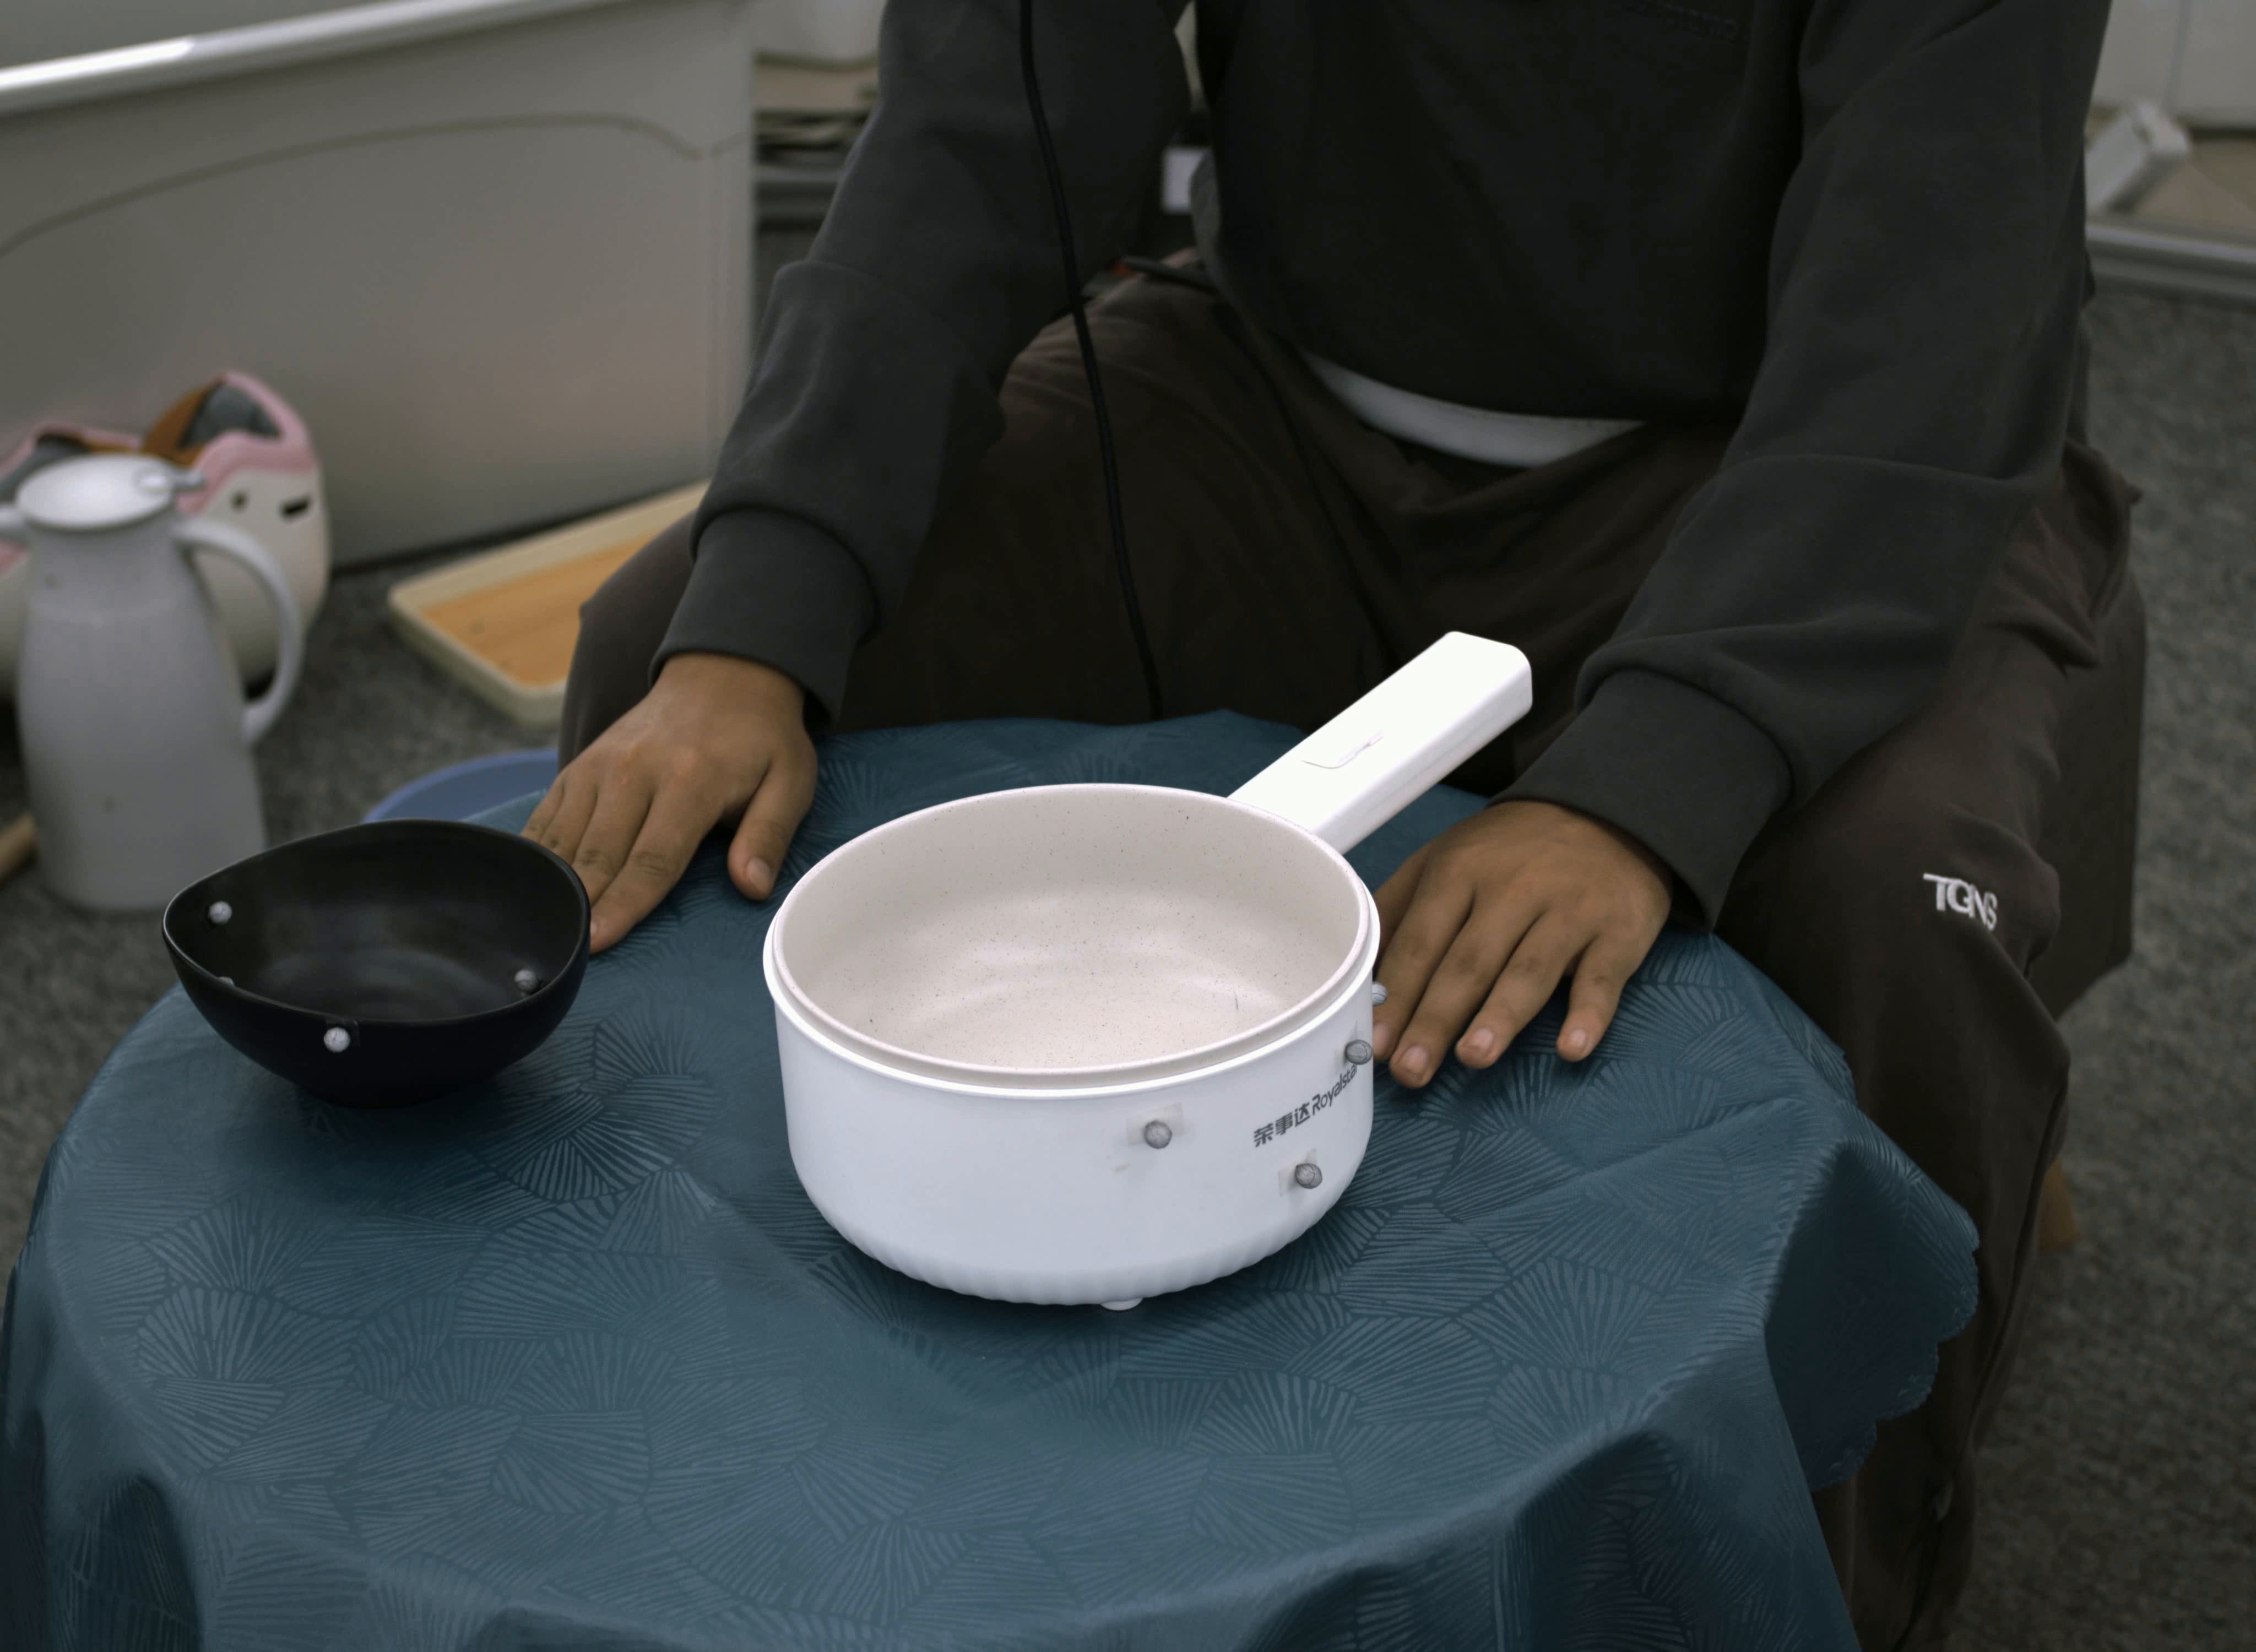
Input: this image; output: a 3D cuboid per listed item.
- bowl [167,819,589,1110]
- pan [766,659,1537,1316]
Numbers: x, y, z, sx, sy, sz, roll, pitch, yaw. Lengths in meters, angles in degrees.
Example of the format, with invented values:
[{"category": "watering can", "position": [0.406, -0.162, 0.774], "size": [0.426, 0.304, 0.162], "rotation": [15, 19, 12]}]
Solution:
[{"category": "bowl", "position": [-0.258, 0.056, 1.944], "size": [0.139, 0.066, 0.170], "rotation": [-25, 33, -36]}, {"category": "pan", "position": [0.028, 0.050, 1.906], "size": [0.200, 0.101, 0.360], "rotation": [14, 29, 33]}]
